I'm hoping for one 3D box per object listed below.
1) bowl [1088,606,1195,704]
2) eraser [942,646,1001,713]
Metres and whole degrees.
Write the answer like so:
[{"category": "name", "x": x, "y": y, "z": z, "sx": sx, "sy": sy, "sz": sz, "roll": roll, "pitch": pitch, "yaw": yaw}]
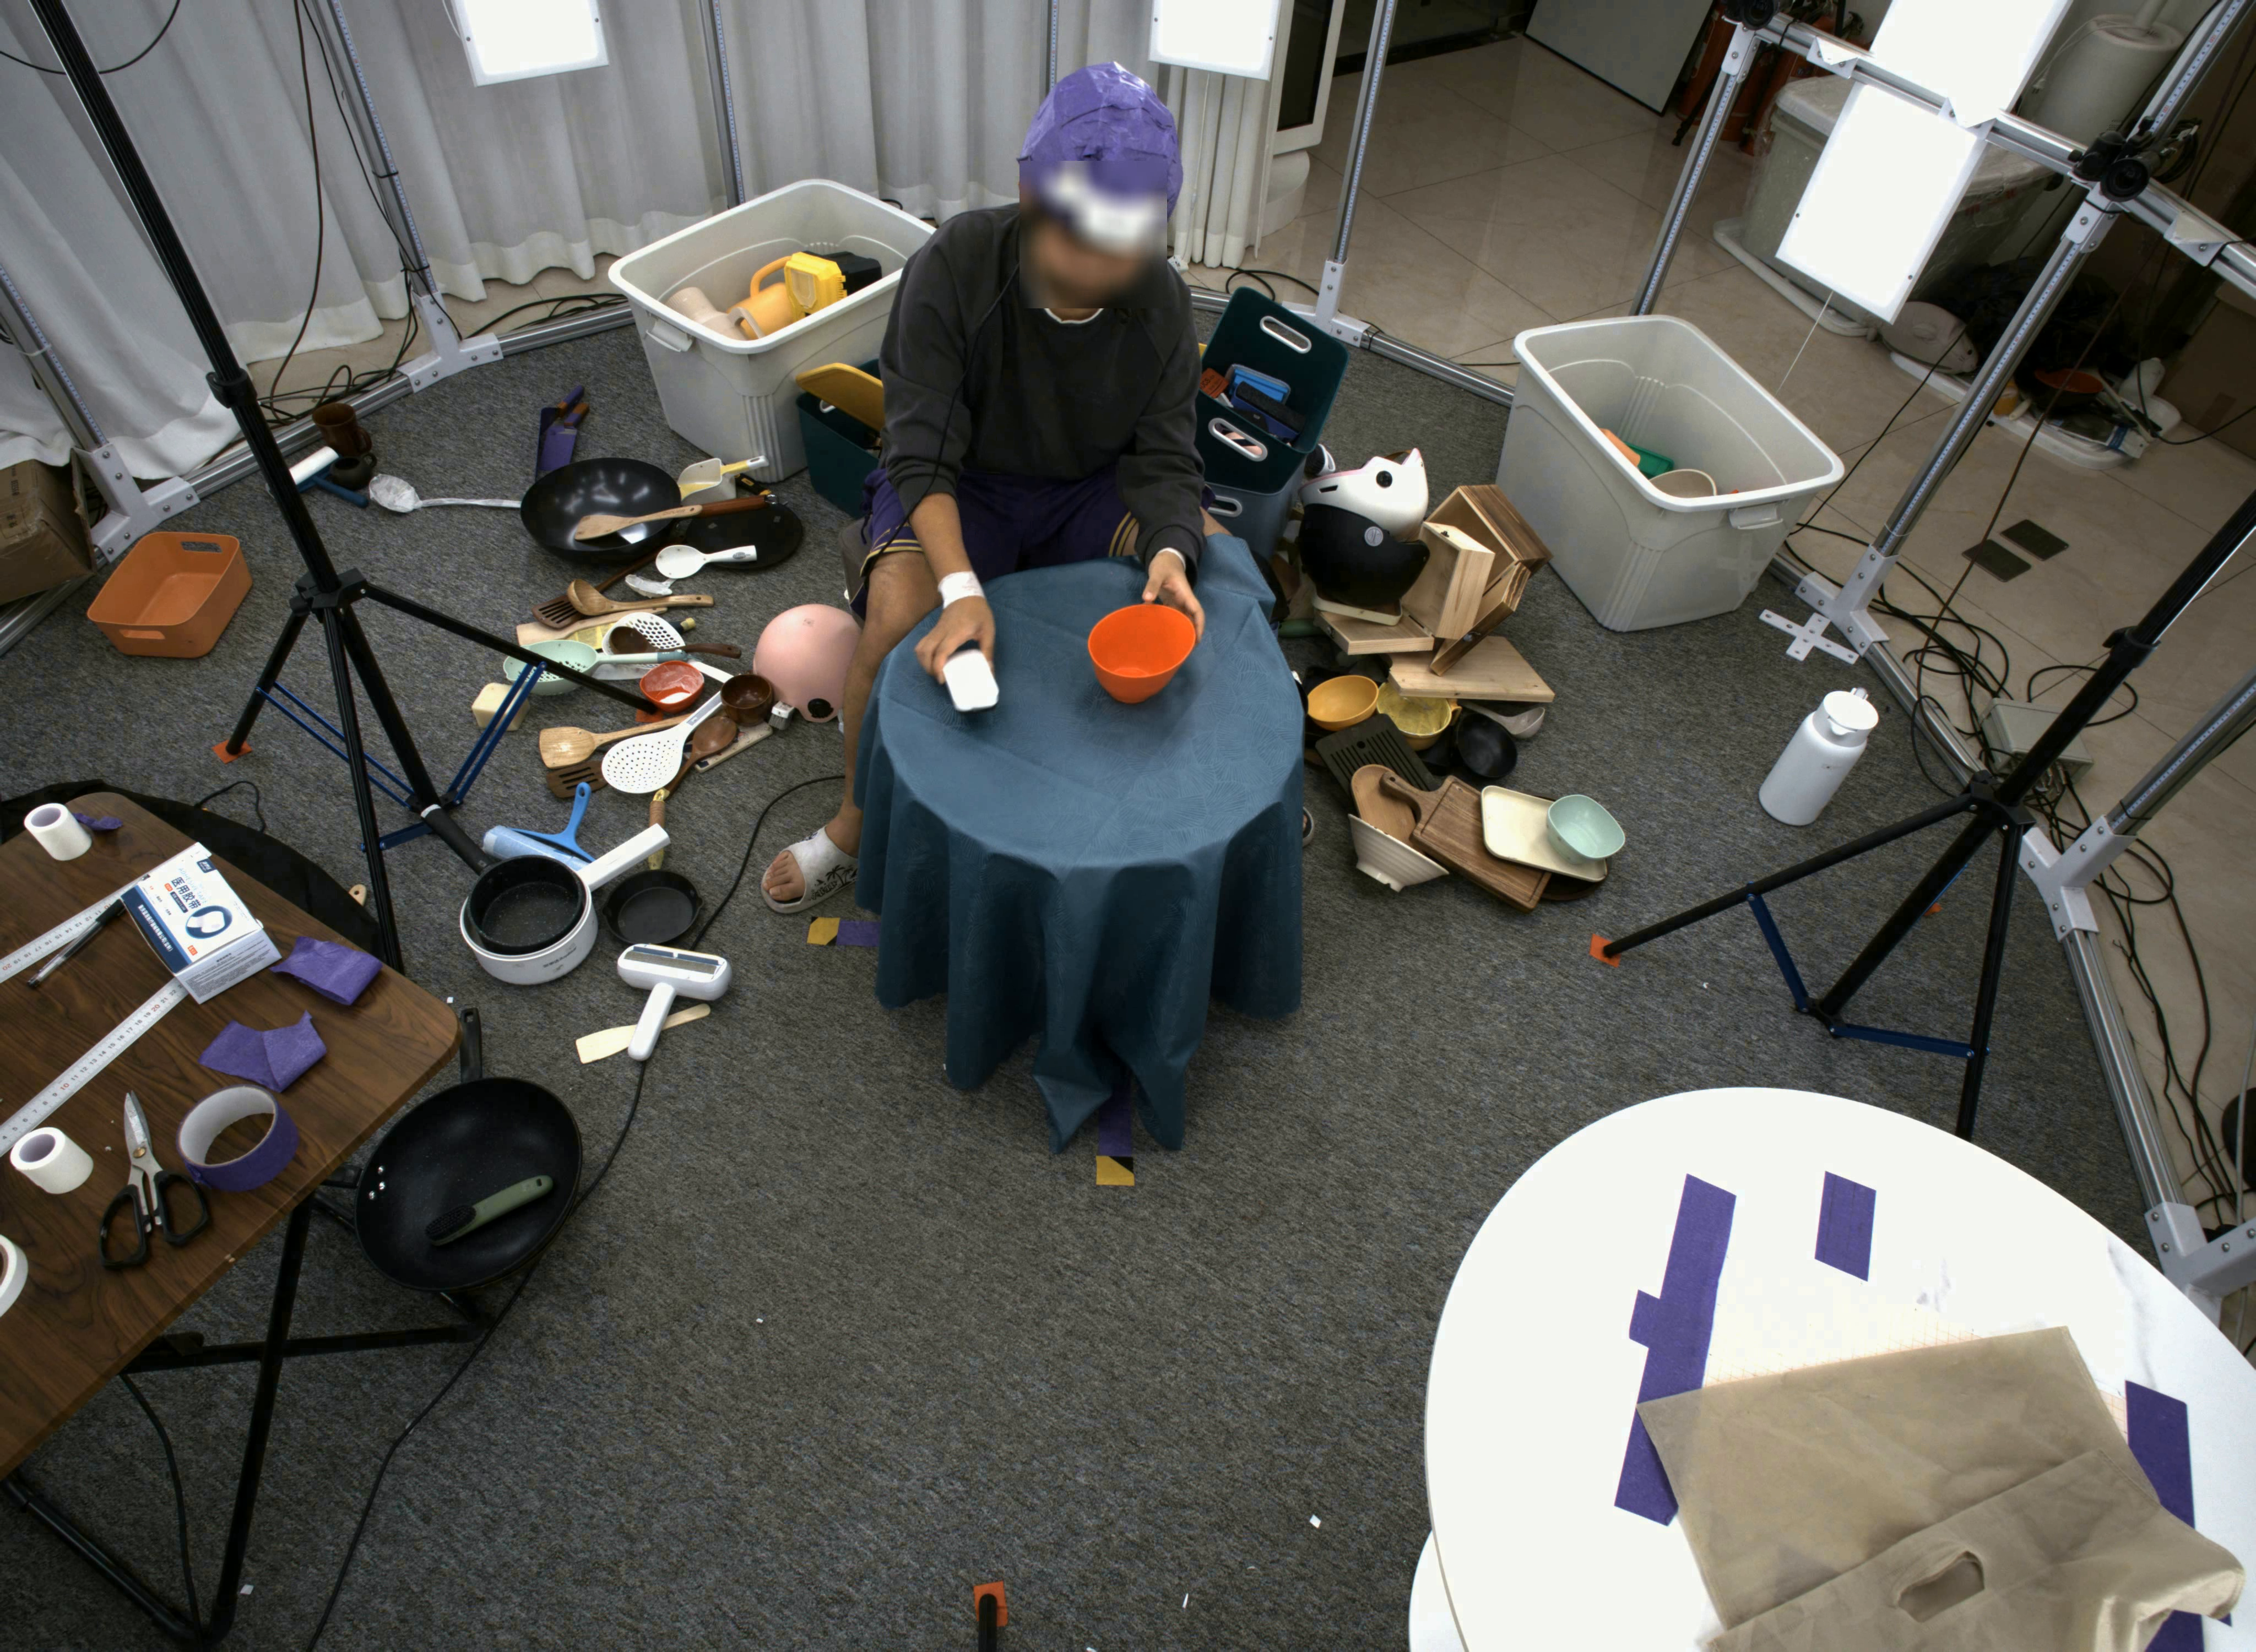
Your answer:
[{"category": "bowl", "x": 0.017, "y": -0.230, "z": 1.803, "sx": 0.148, "sy": 0.102, "sz": 0.152, "roll": 1, "pitch": 49, "yaw": -2}, {"category": "eraser", "x": -0.215, "y": -0.206, "z": 1.774, "sx": 0.063, "sy": 0.034, "sz": 0.134, "roll": -10, "pitch": 41, "yaw": -12}]
